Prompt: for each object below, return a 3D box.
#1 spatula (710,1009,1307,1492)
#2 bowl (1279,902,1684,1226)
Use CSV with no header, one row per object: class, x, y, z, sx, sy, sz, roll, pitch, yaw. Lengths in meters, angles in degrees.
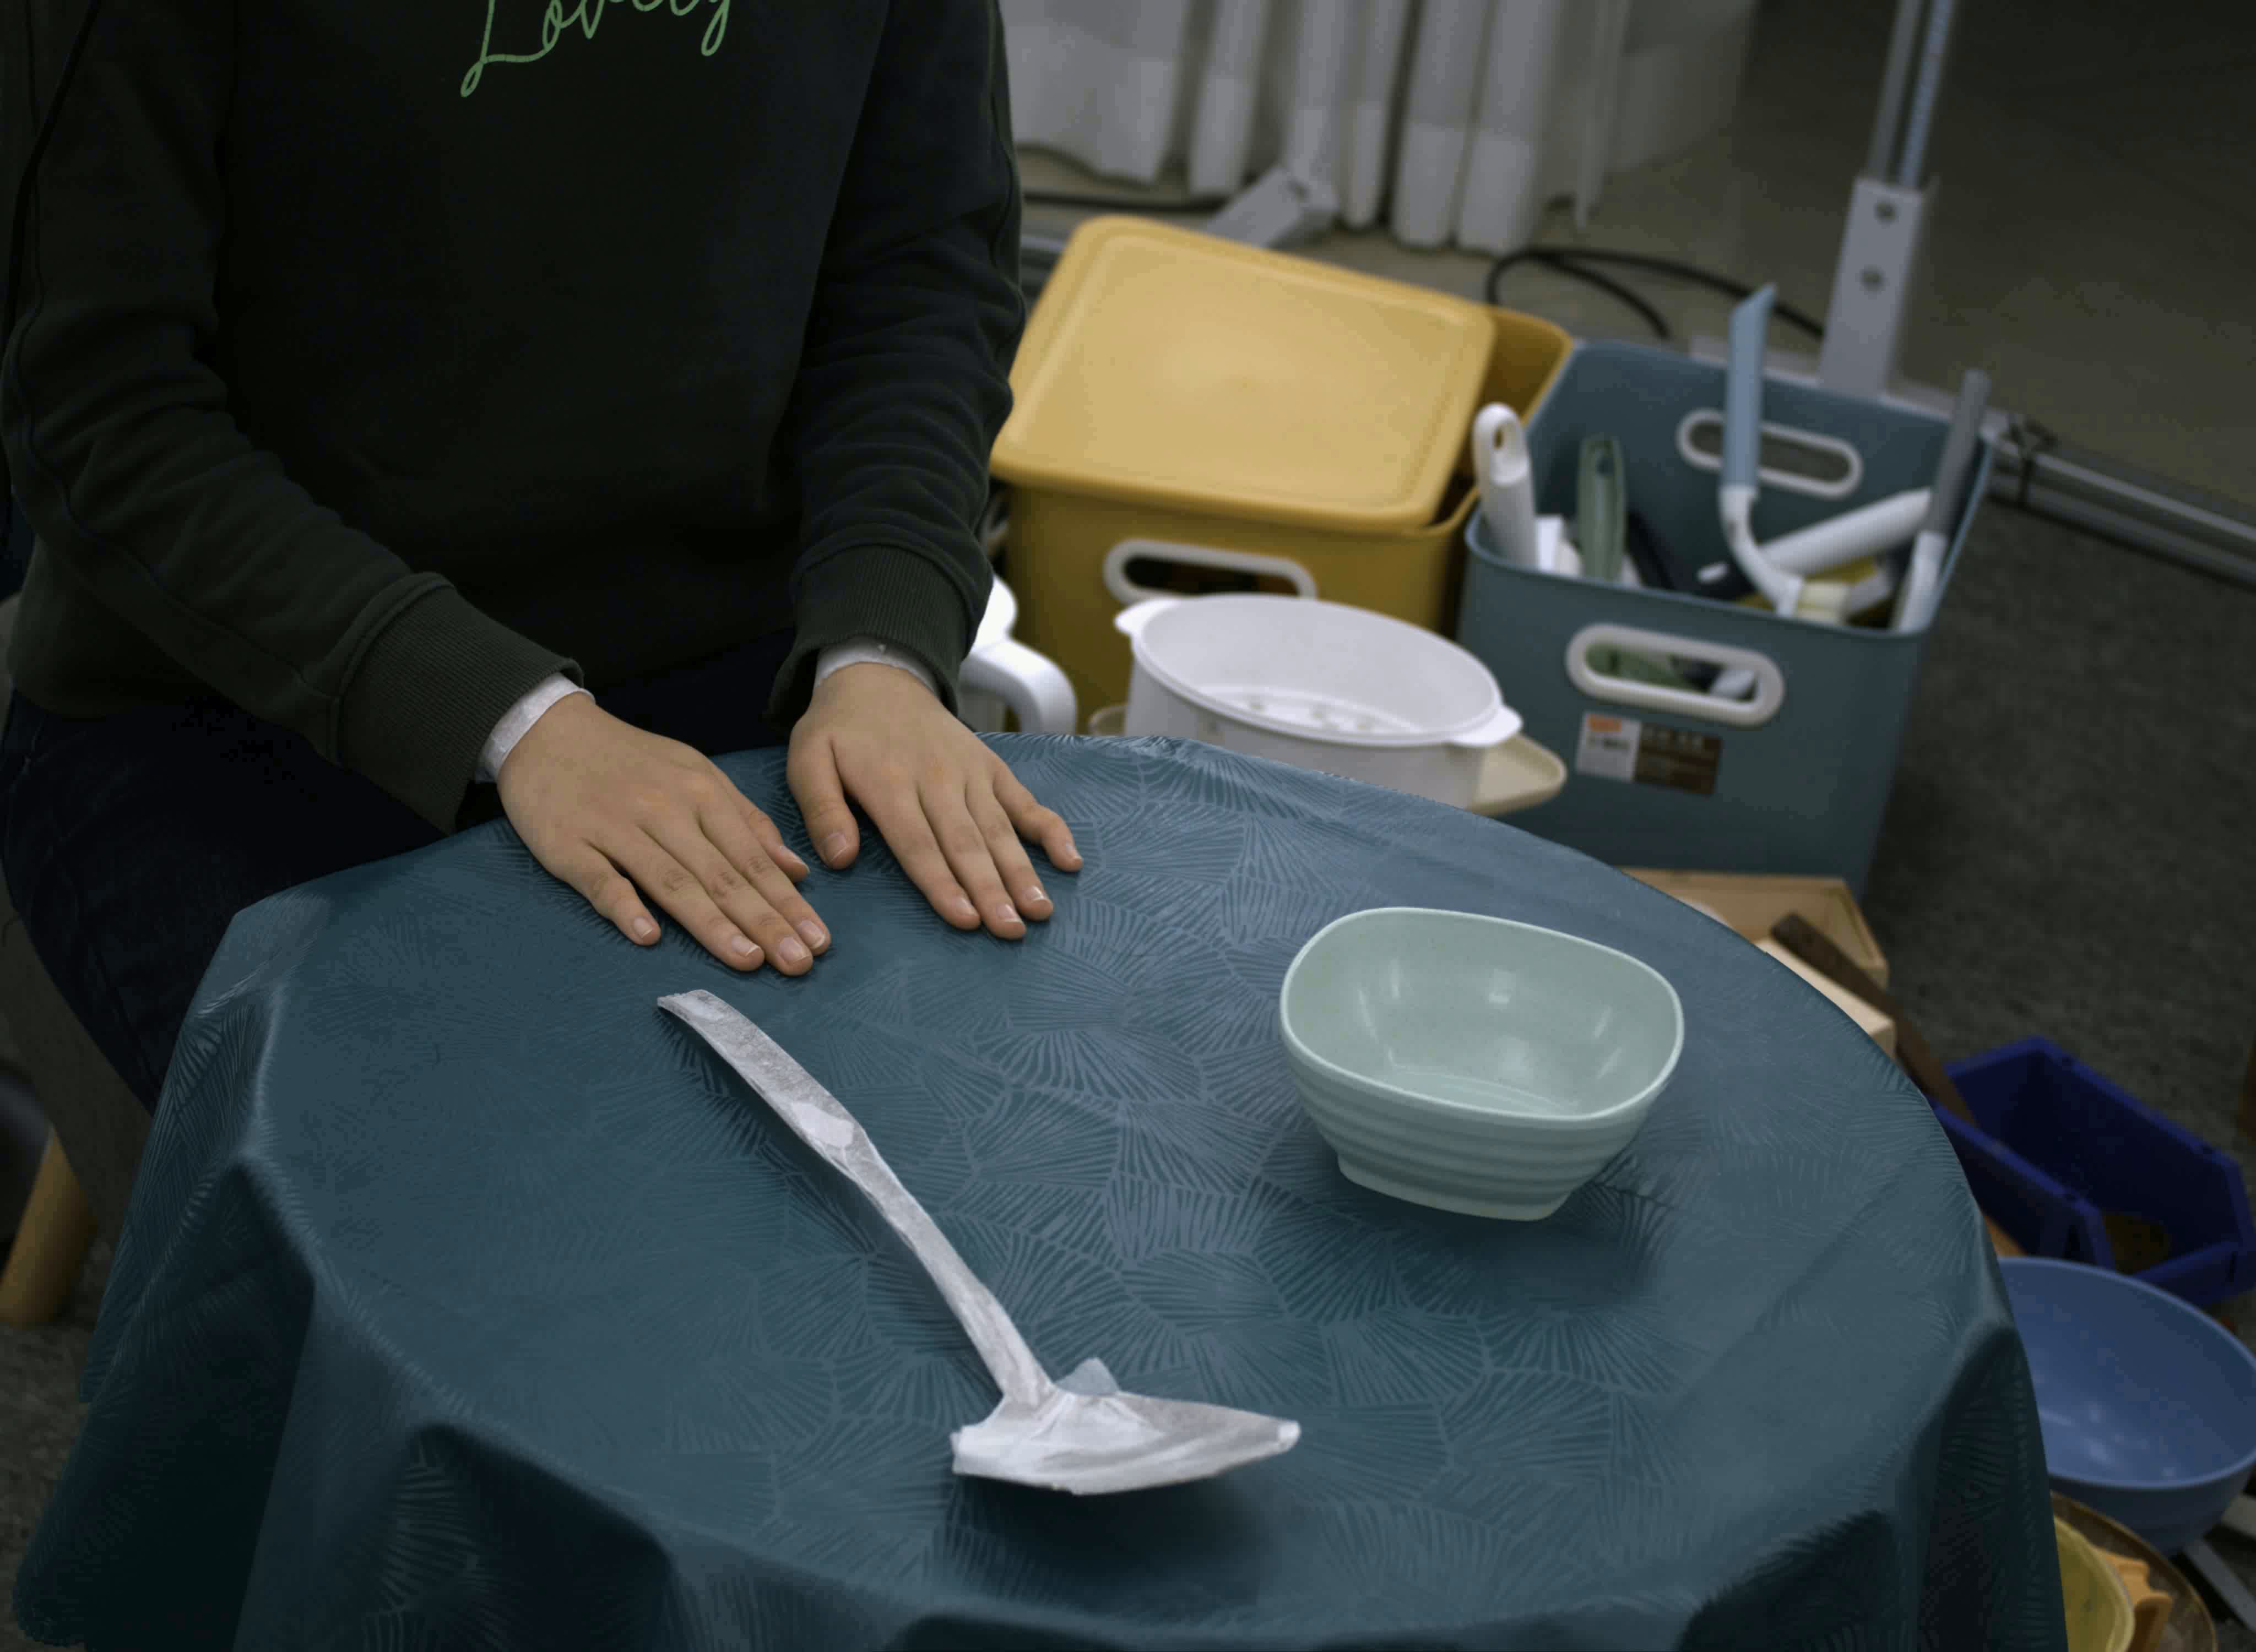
spatula,-0.064,0.130,1.731,0.098,0.044,0.368,-10,31,-25
bowl,0.118,0.088,1.836,0.151,0.058,0.152,7,28,-4
